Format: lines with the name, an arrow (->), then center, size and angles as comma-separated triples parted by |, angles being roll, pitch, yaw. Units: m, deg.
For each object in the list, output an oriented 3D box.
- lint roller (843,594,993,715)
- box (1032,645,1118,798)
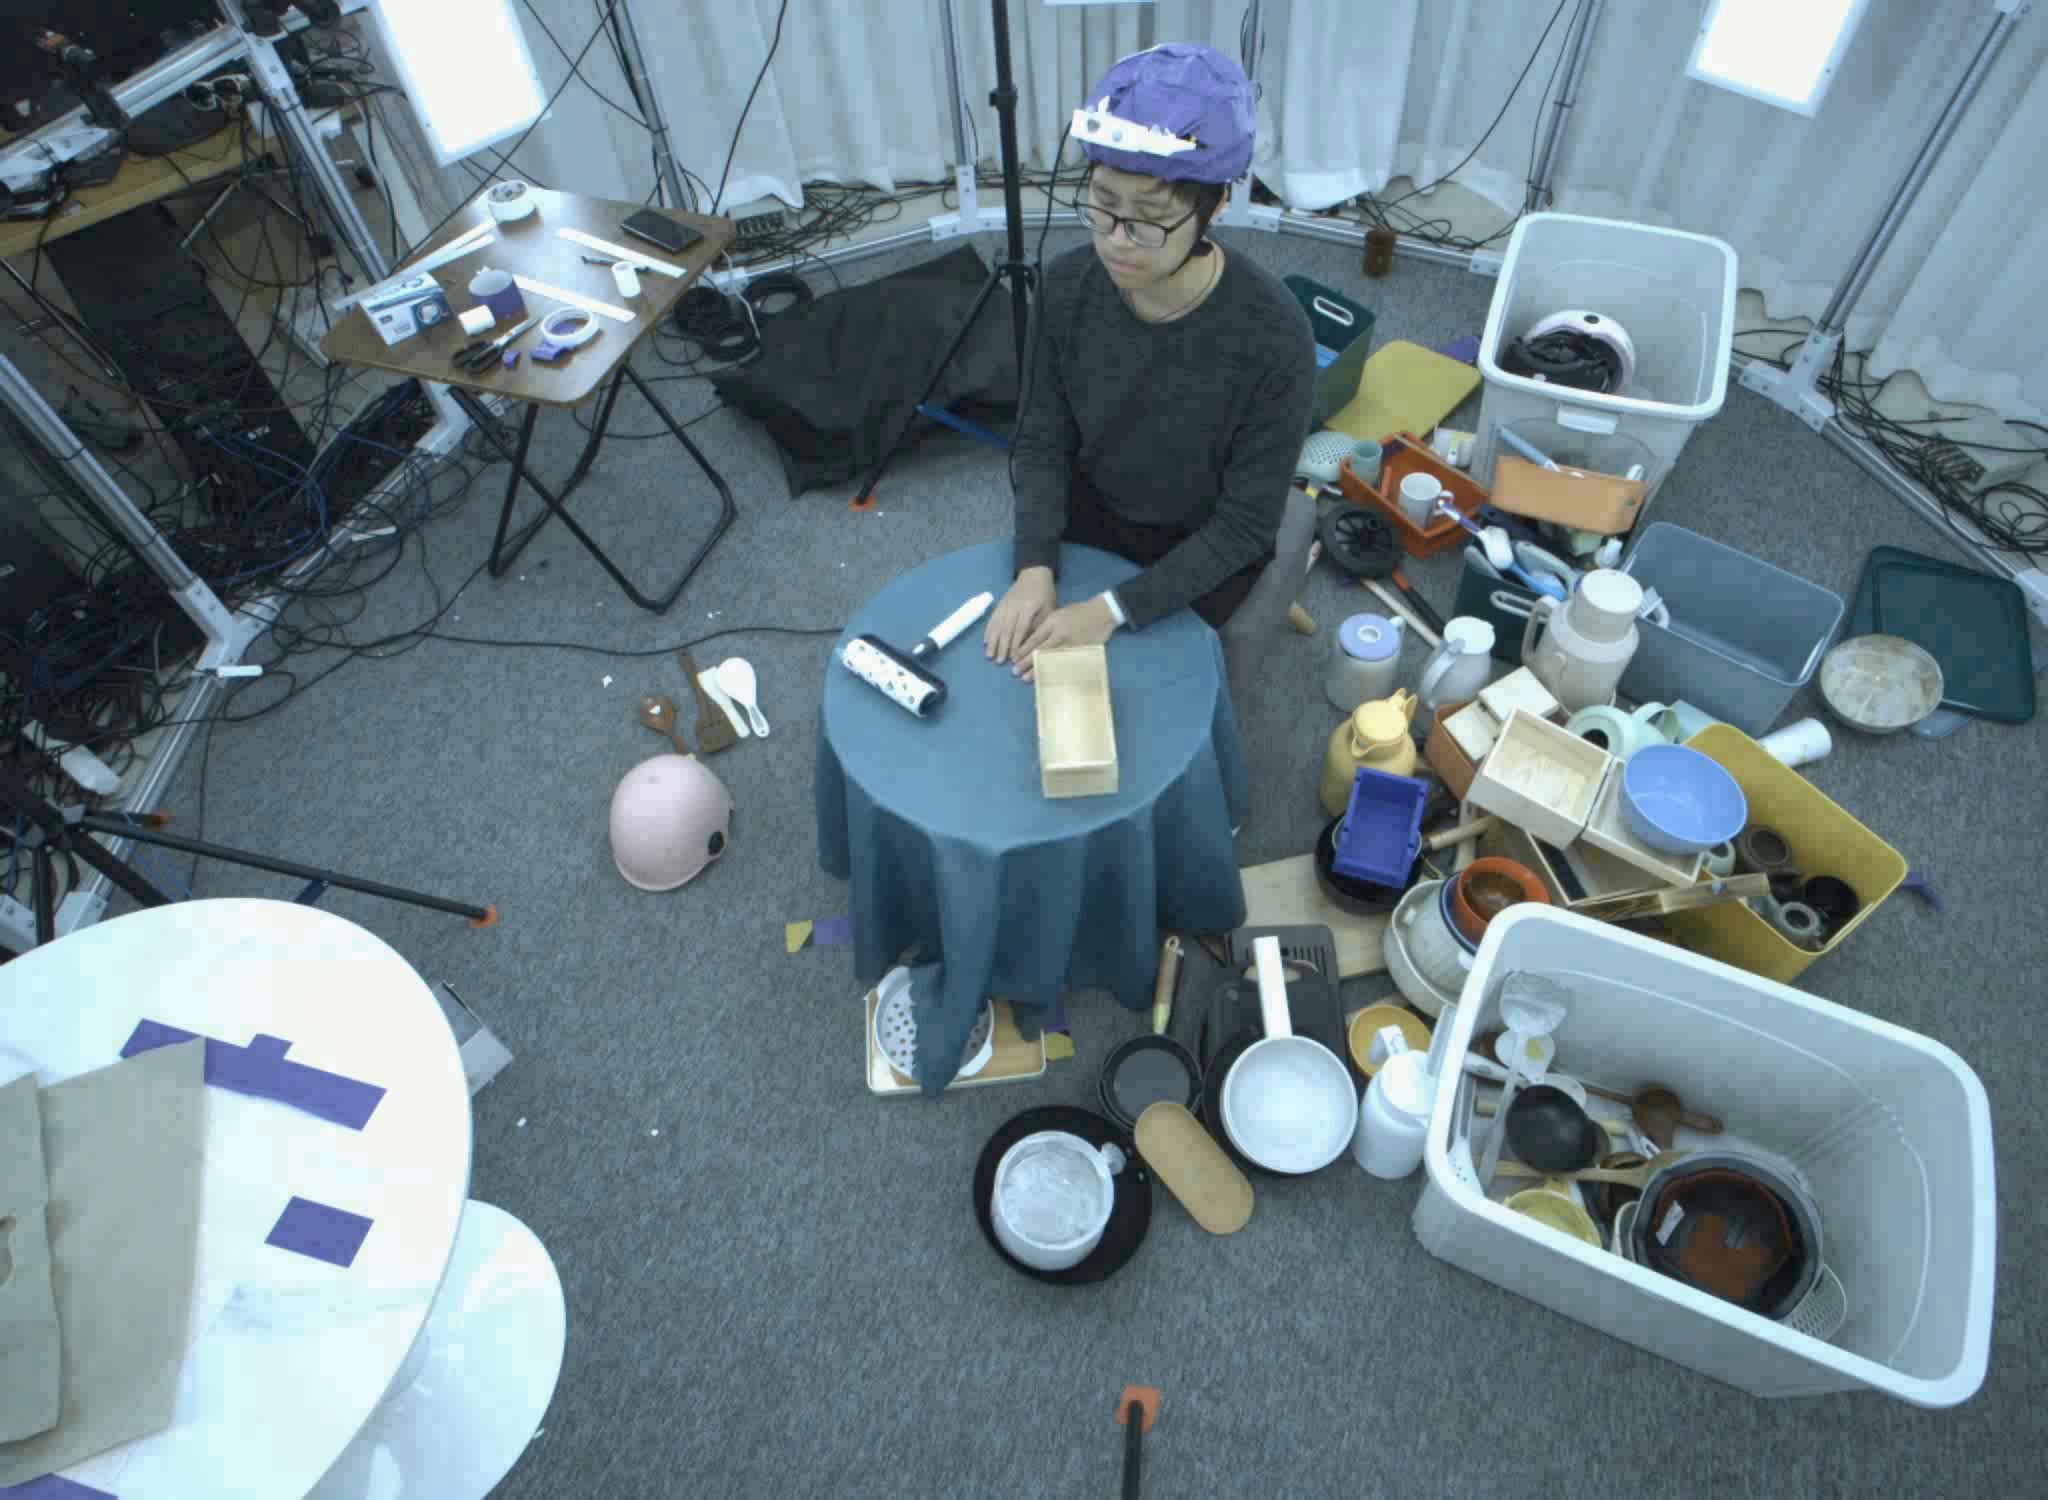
lint roller -> -0.137, -0.172, 1.888 | 0.173, 0.051, 0.248 | 33, 61, 24
box -> 0.072, -0.043, 1.767 | 0.107, 0.081, 0.209 | -4, 54, -1
